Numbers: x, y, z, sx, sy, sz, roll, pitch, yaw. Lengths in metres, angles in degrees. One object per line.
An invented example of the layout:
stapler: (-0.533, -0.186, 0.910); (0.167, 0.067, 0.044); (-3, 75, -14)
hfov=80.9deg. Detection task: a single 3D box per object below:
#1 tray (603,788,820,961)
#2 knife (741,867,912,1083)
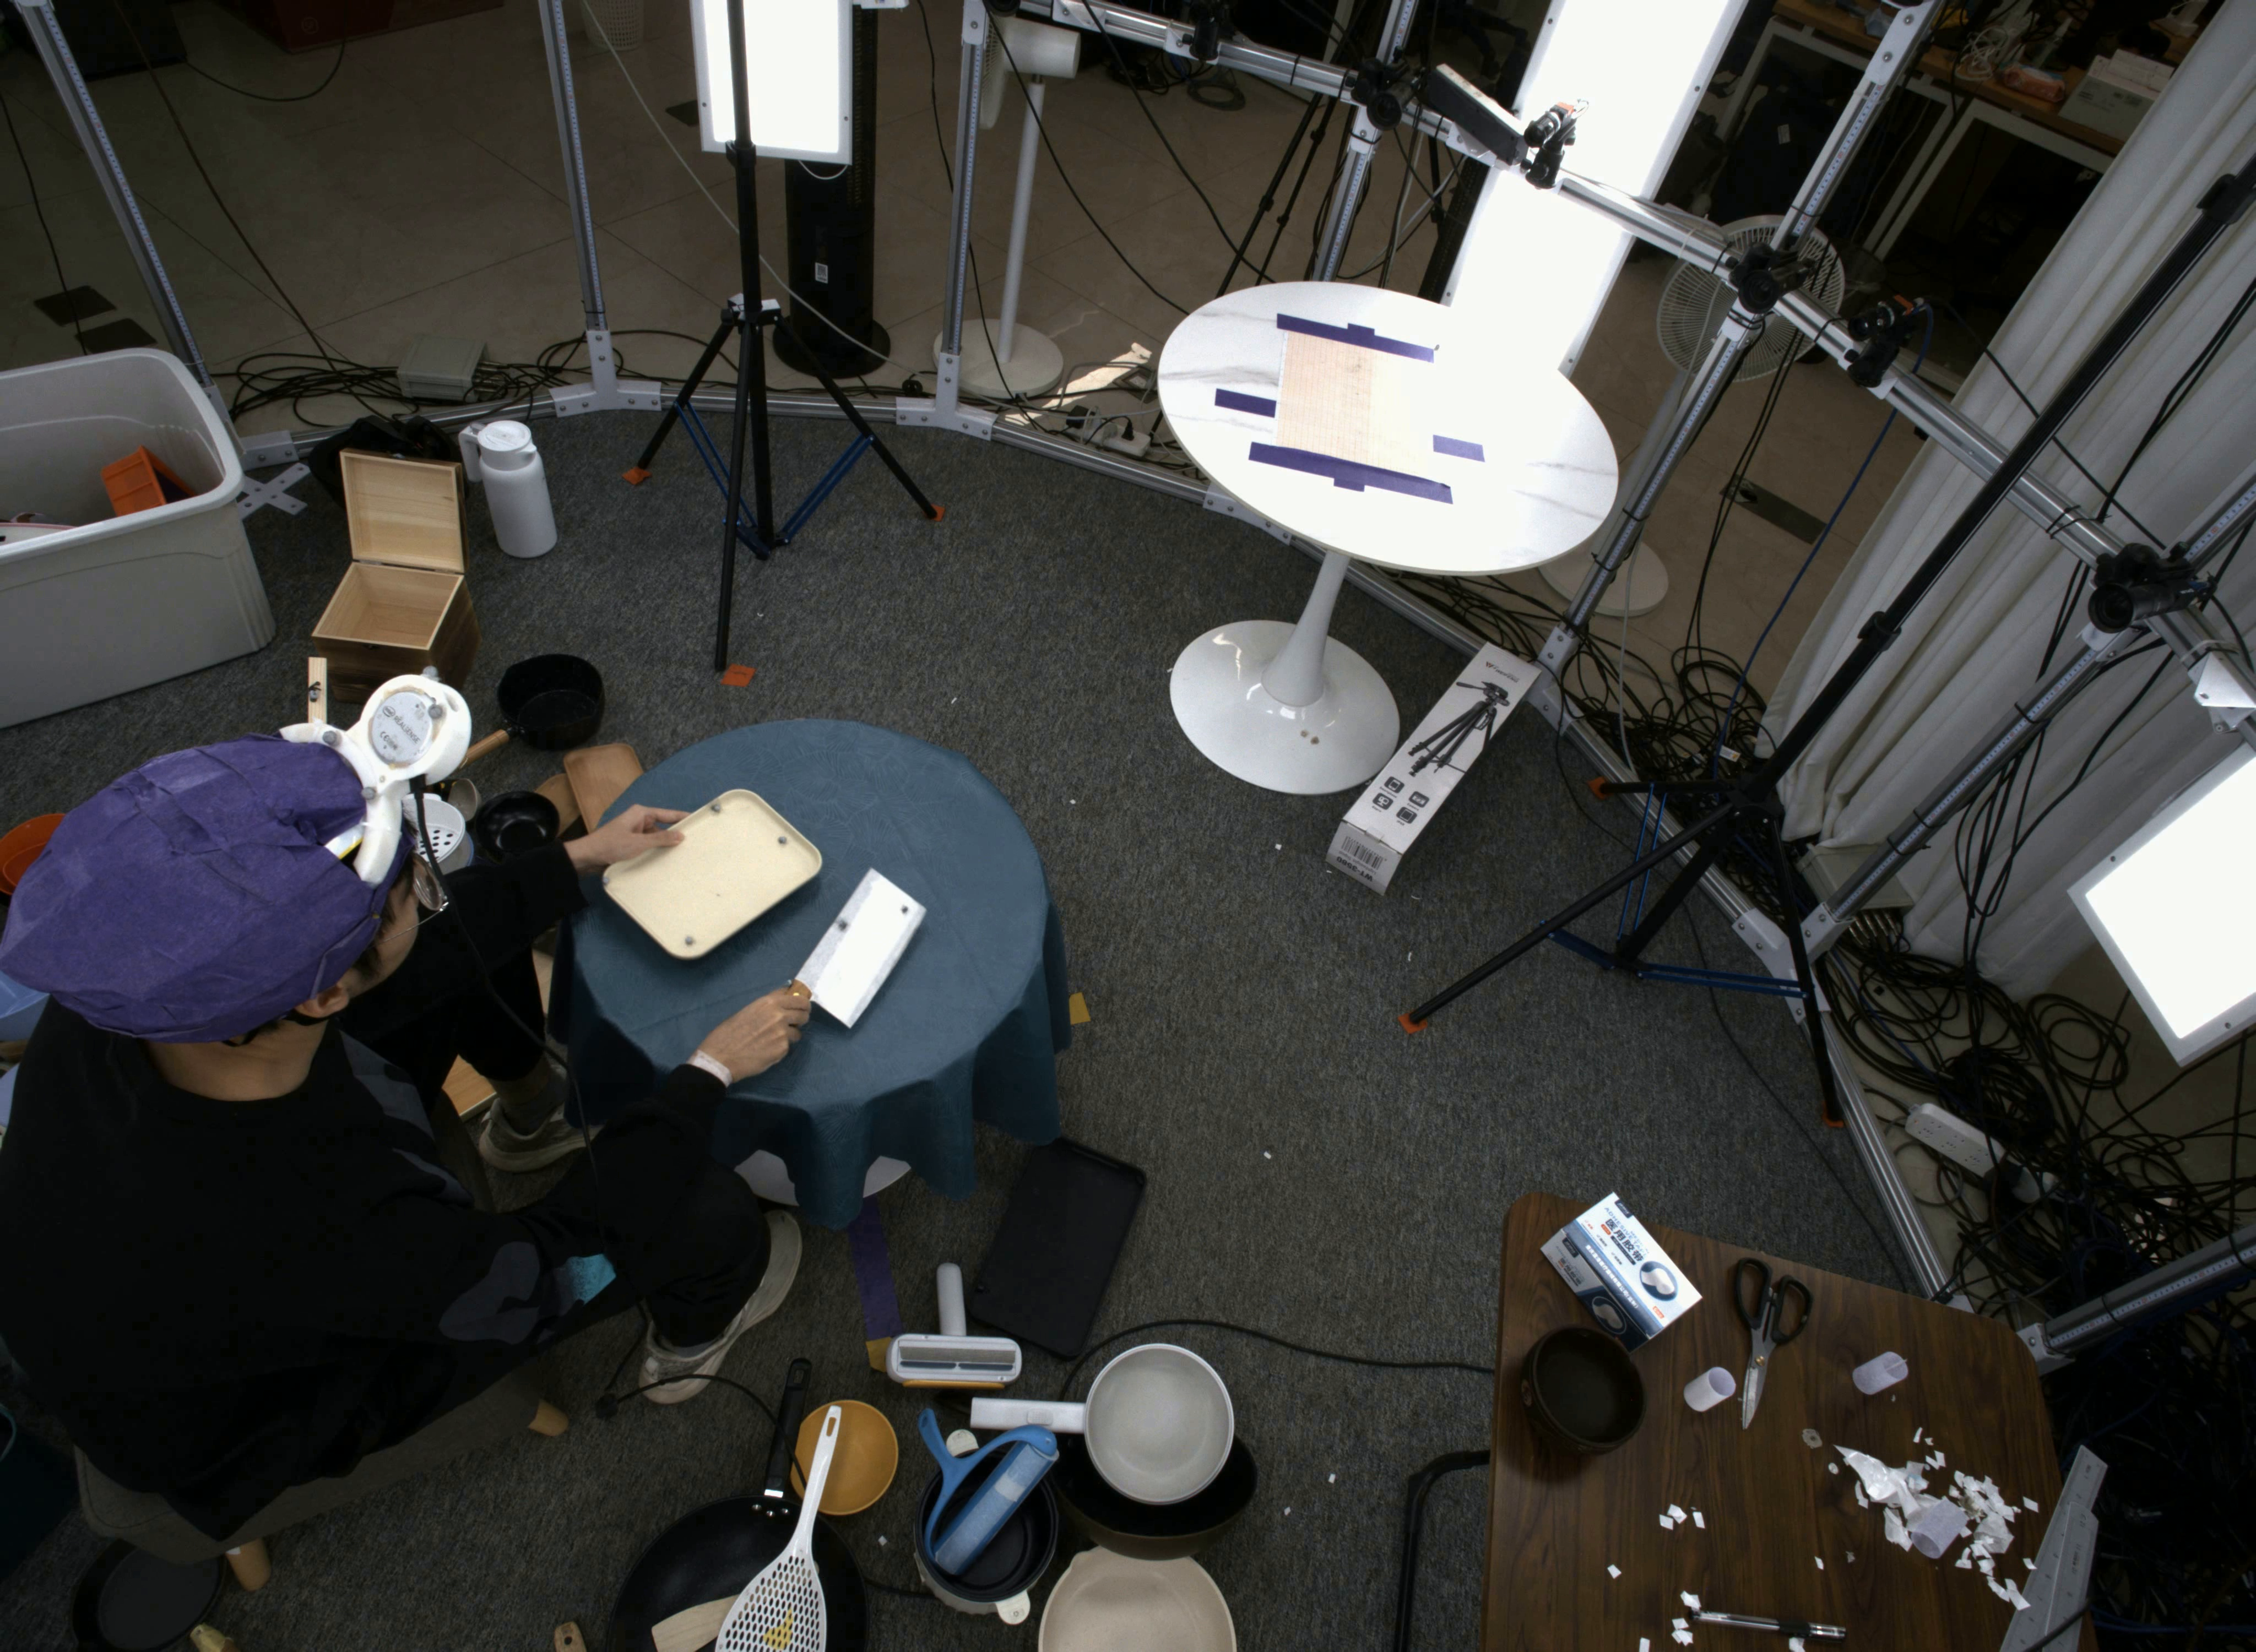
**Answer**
tray: (-0.514, 0.055, 1.595); (0.168, 0.018, 0.240); (40, 50, 11)
knife: (-0.348, 0.183, 1.543); (0.095, 0.021, 0.304); (40, 54, -18)
